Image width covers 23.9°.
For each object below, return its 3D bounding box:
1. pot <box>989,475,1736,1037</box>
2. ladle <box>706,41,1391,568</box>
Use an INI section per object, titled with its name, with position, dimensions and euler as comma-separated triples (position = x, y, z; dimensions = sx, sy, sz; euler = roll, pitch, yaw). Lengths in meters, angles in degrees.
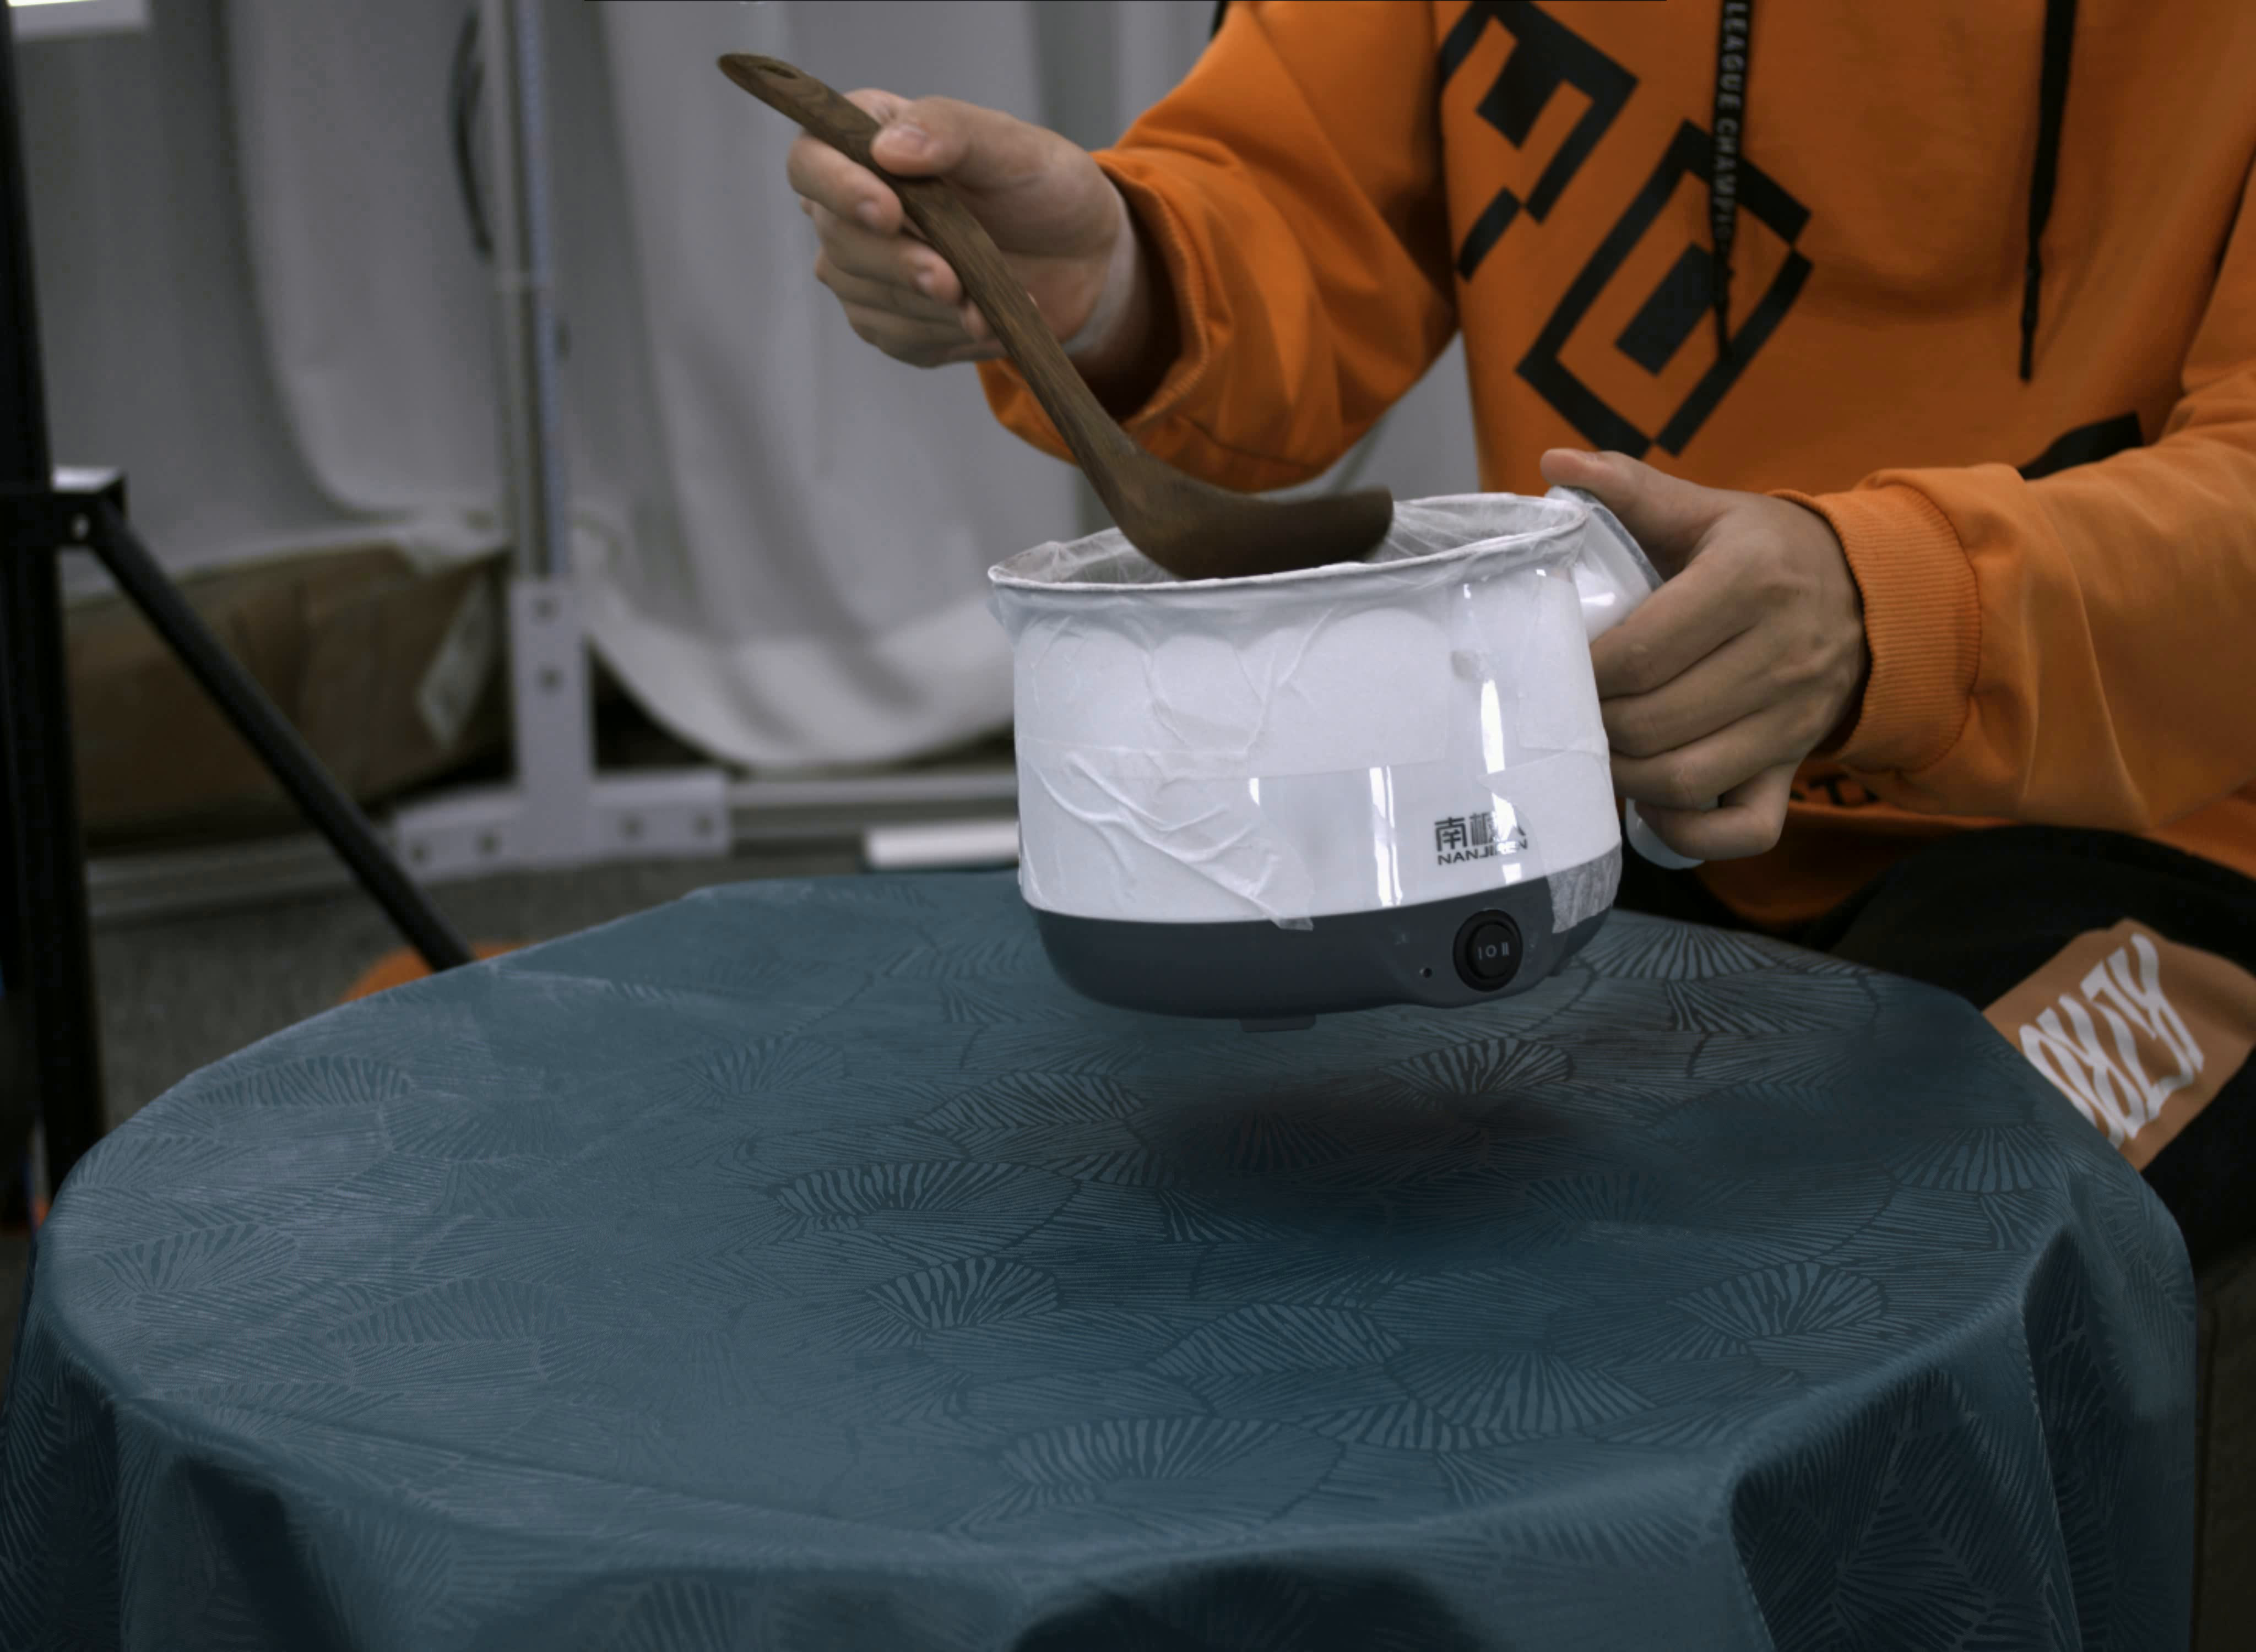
[pot]
position = 0.077, -0.025, 1.568
dimensions = 0.228, 0.137, 0.182
euler = -11, 11, -30
[ladle]
position = -0.026, -0.170, 1.598
dimensions = 0.074, 0.072, 0.279
euler = -2, 46, -53
